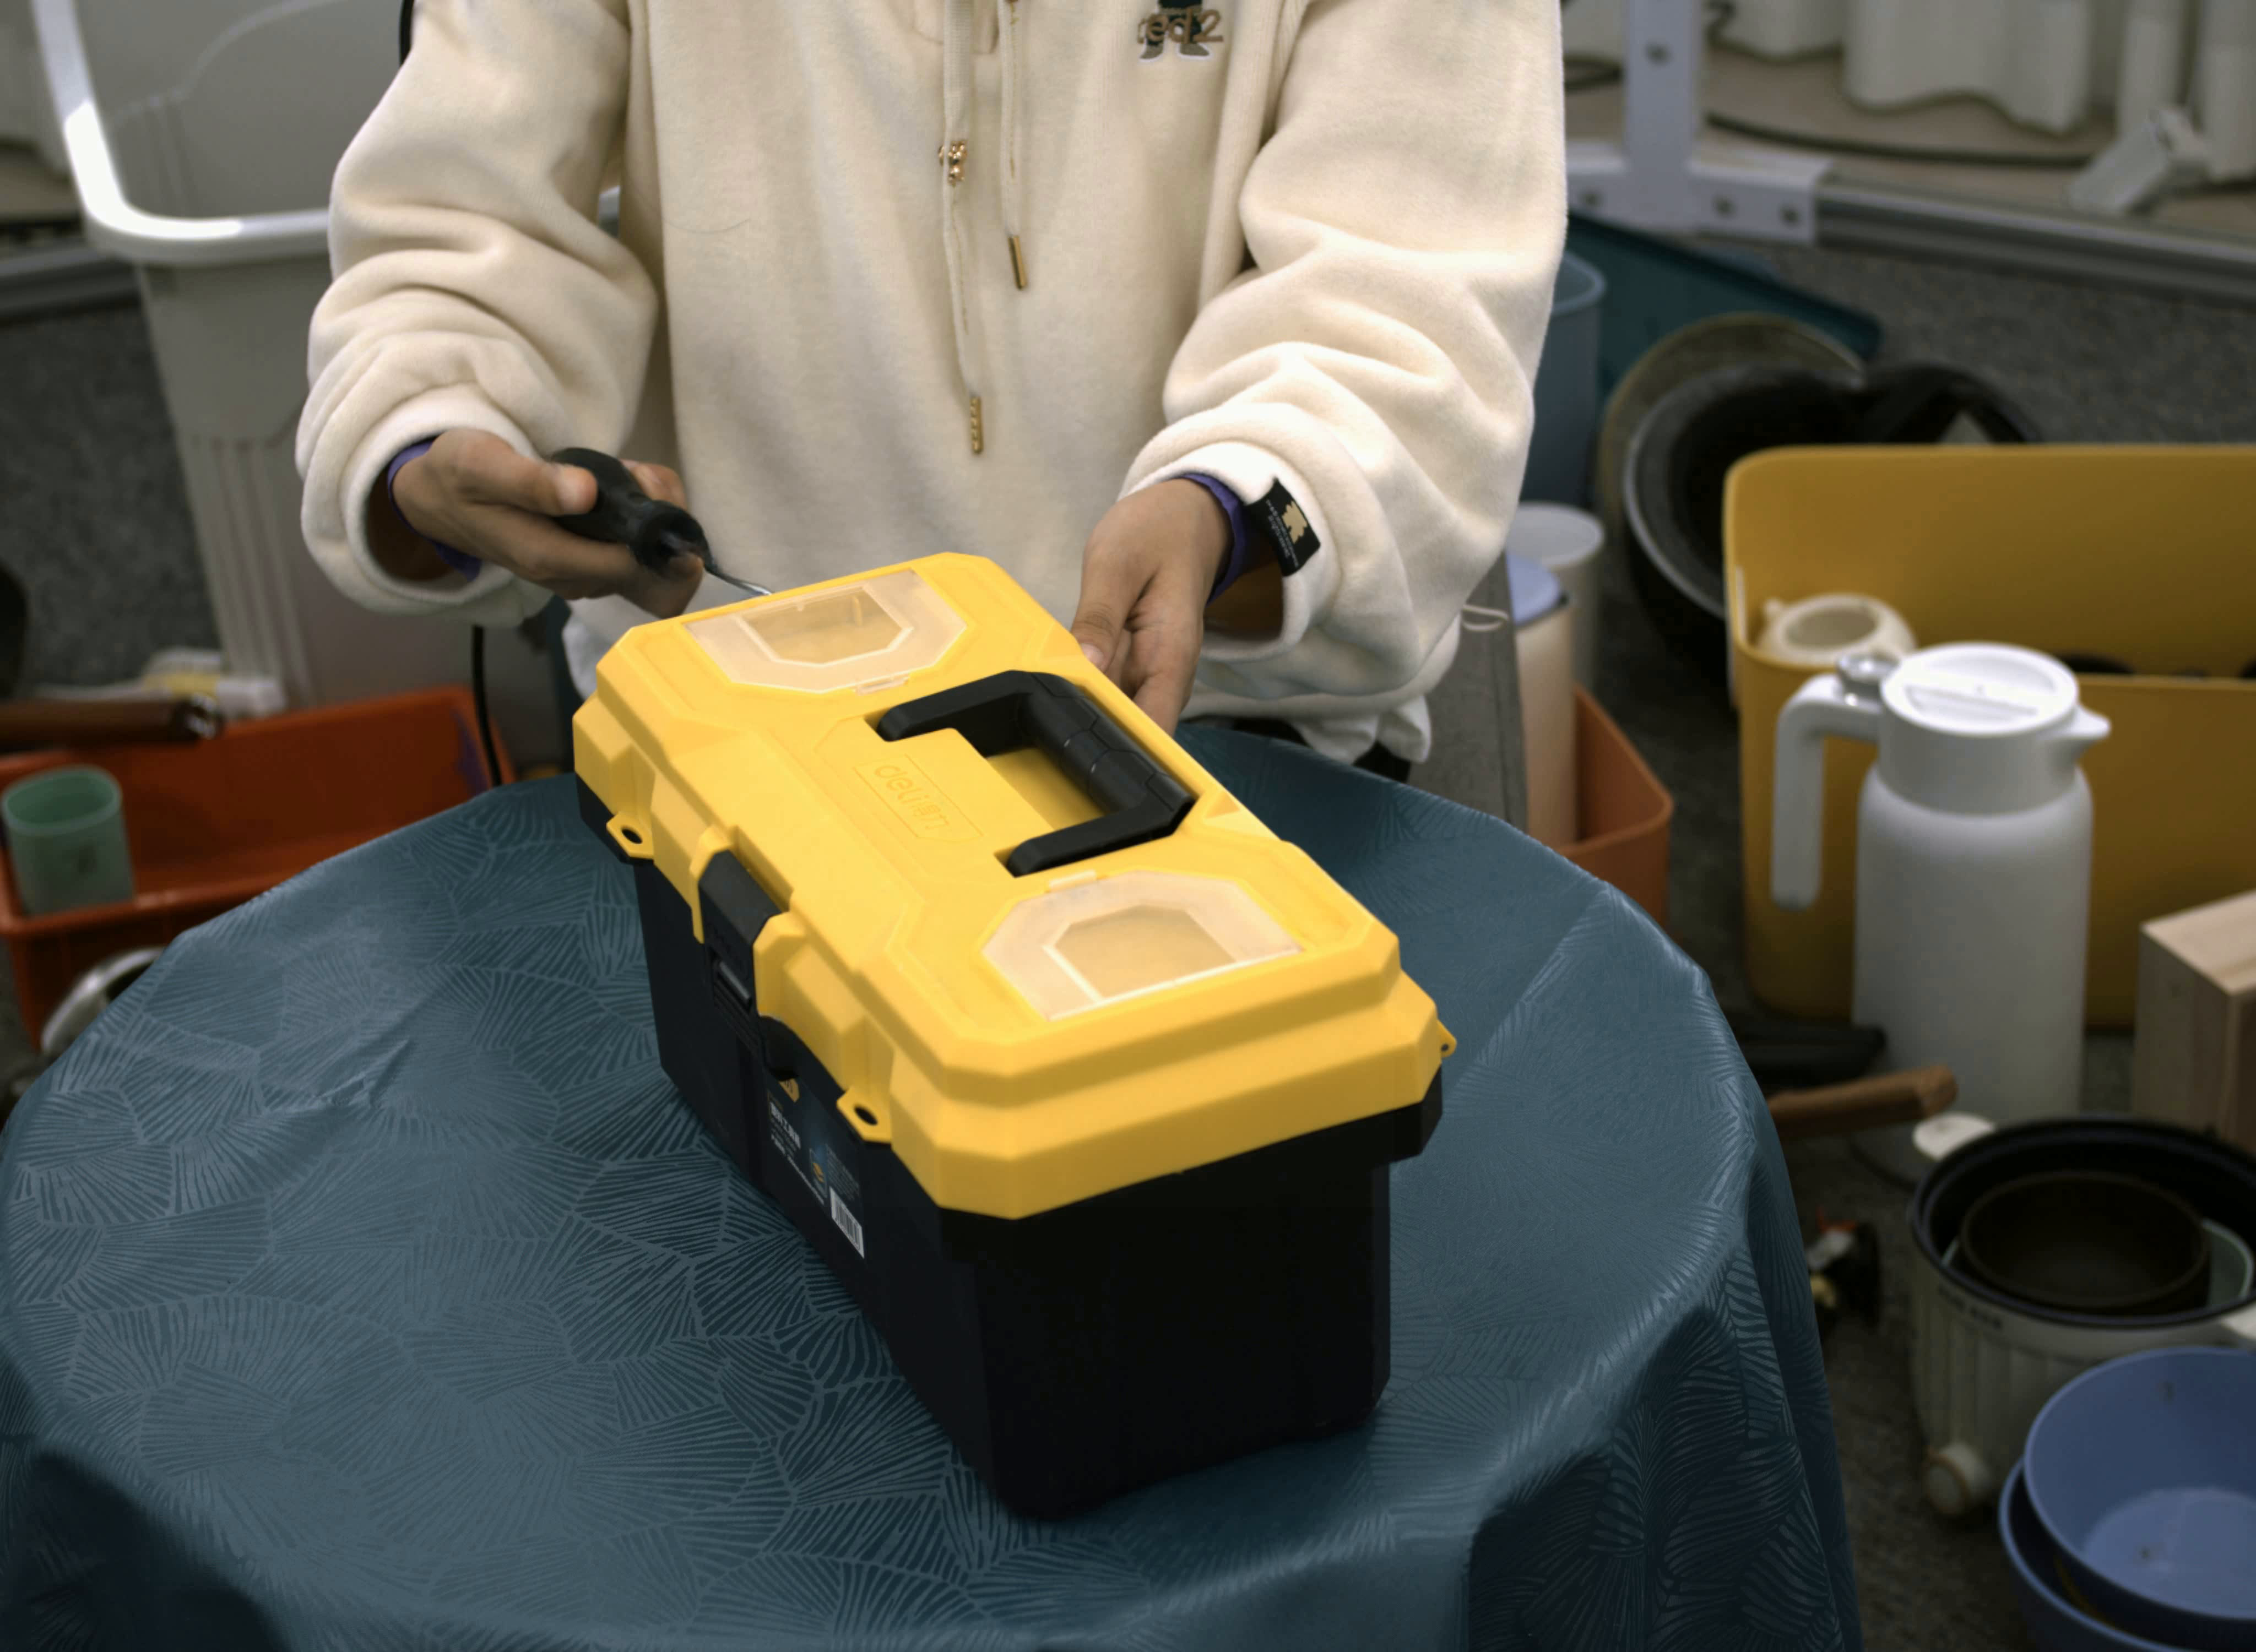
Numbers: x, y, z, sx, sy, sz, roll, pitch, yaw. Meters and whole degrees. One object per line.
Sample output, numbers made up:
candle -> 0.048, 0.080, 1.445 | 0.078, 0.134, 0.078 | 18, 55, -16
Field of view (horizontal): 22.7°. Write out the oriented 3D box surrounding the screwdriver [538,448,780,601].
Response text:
screwdriver -> -0.160, -0.097, 1.990 | 0.031, 0.031, 0.197 | -17, 28, -26

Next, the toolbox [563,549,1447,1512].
toolbox -> -0.044, 0.059, 1.801 | 0.182, 0.171, 0.354 | -14, 29, -20
